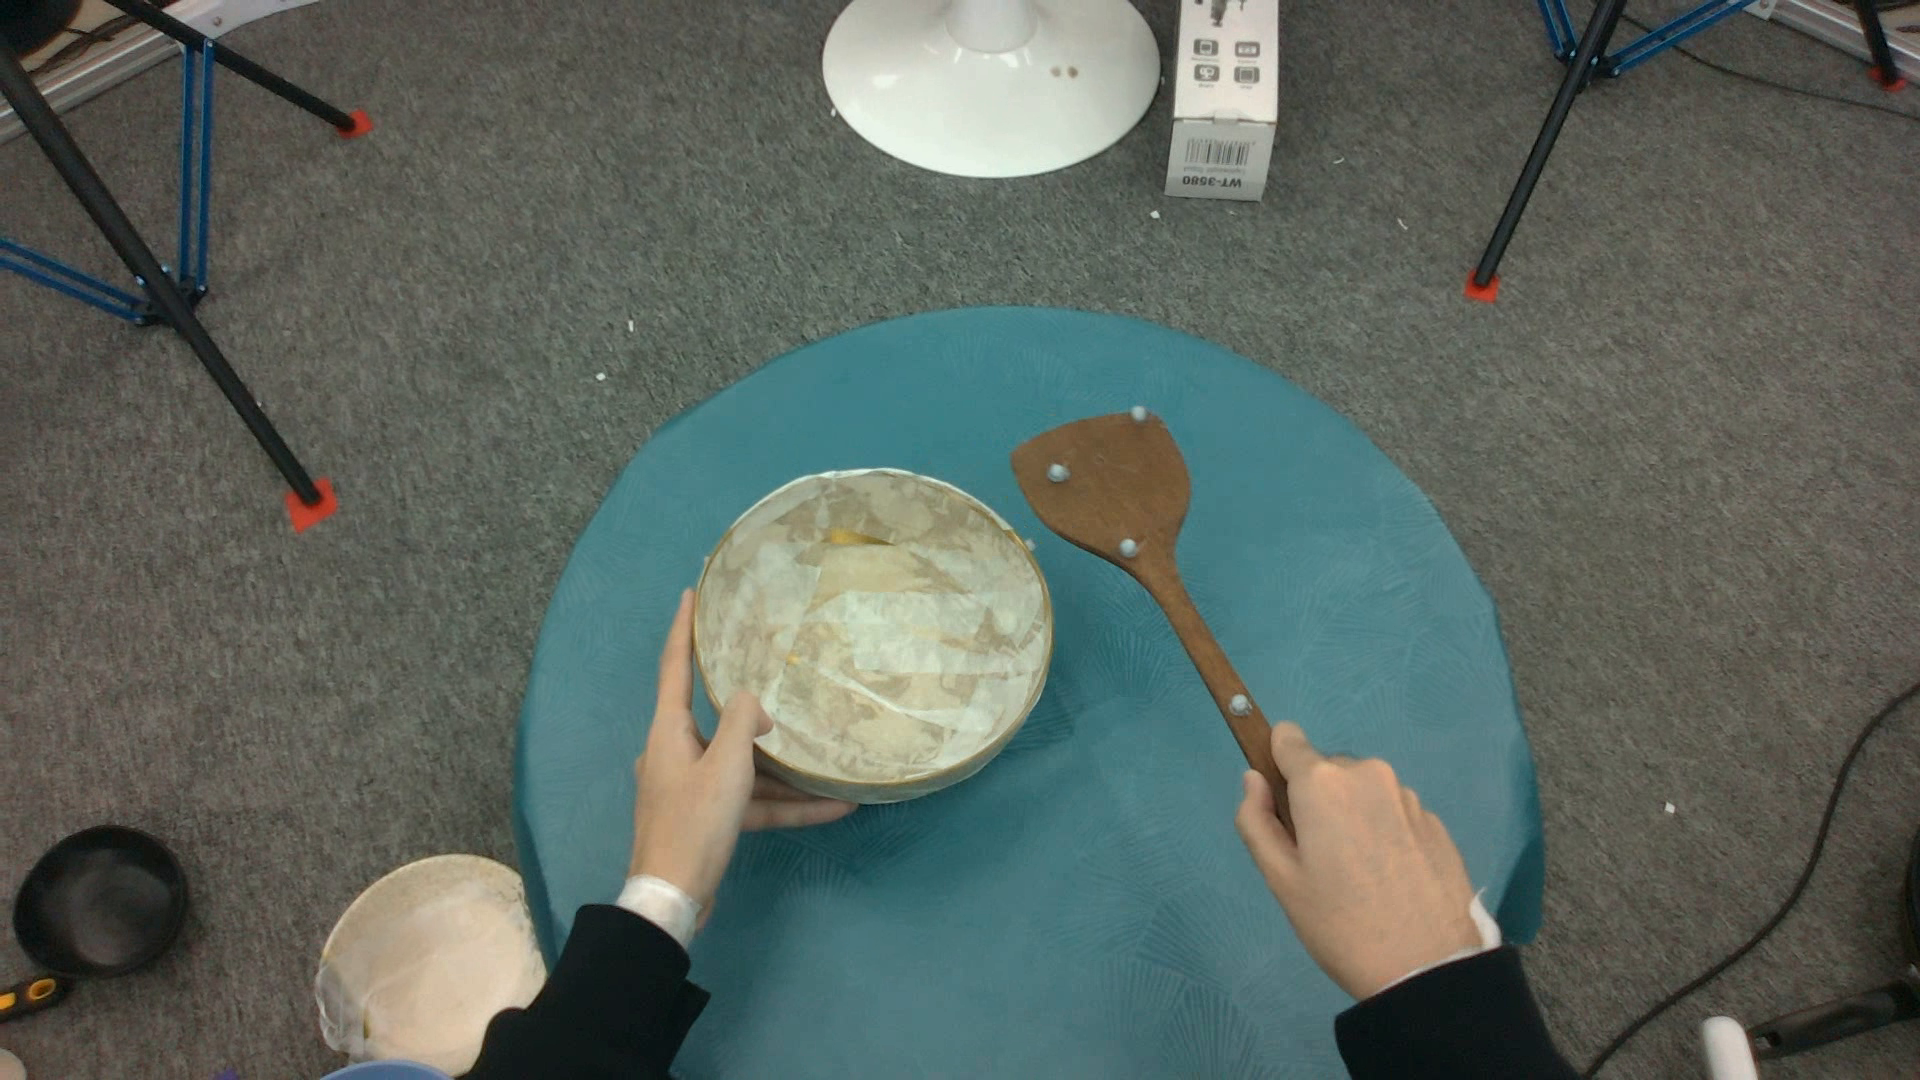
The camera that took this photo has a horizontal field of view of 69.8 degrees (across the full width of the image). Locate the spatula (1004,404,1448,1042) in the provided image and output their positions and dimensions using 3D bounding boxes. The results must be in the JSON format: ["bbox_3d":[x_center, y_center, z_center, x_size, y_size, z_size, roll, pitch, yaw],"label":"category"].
[{"bbox_3d":[0.125,0.063,0.669,0.096,0.016,0.387,-16,48,-11],"label":"spatula"}]

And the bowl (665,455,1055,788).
[{"bbox_3d":[-0.057,0.060,0.785,0.215,0.094,0.215,4,55,-6],"label":"bowl"}]
